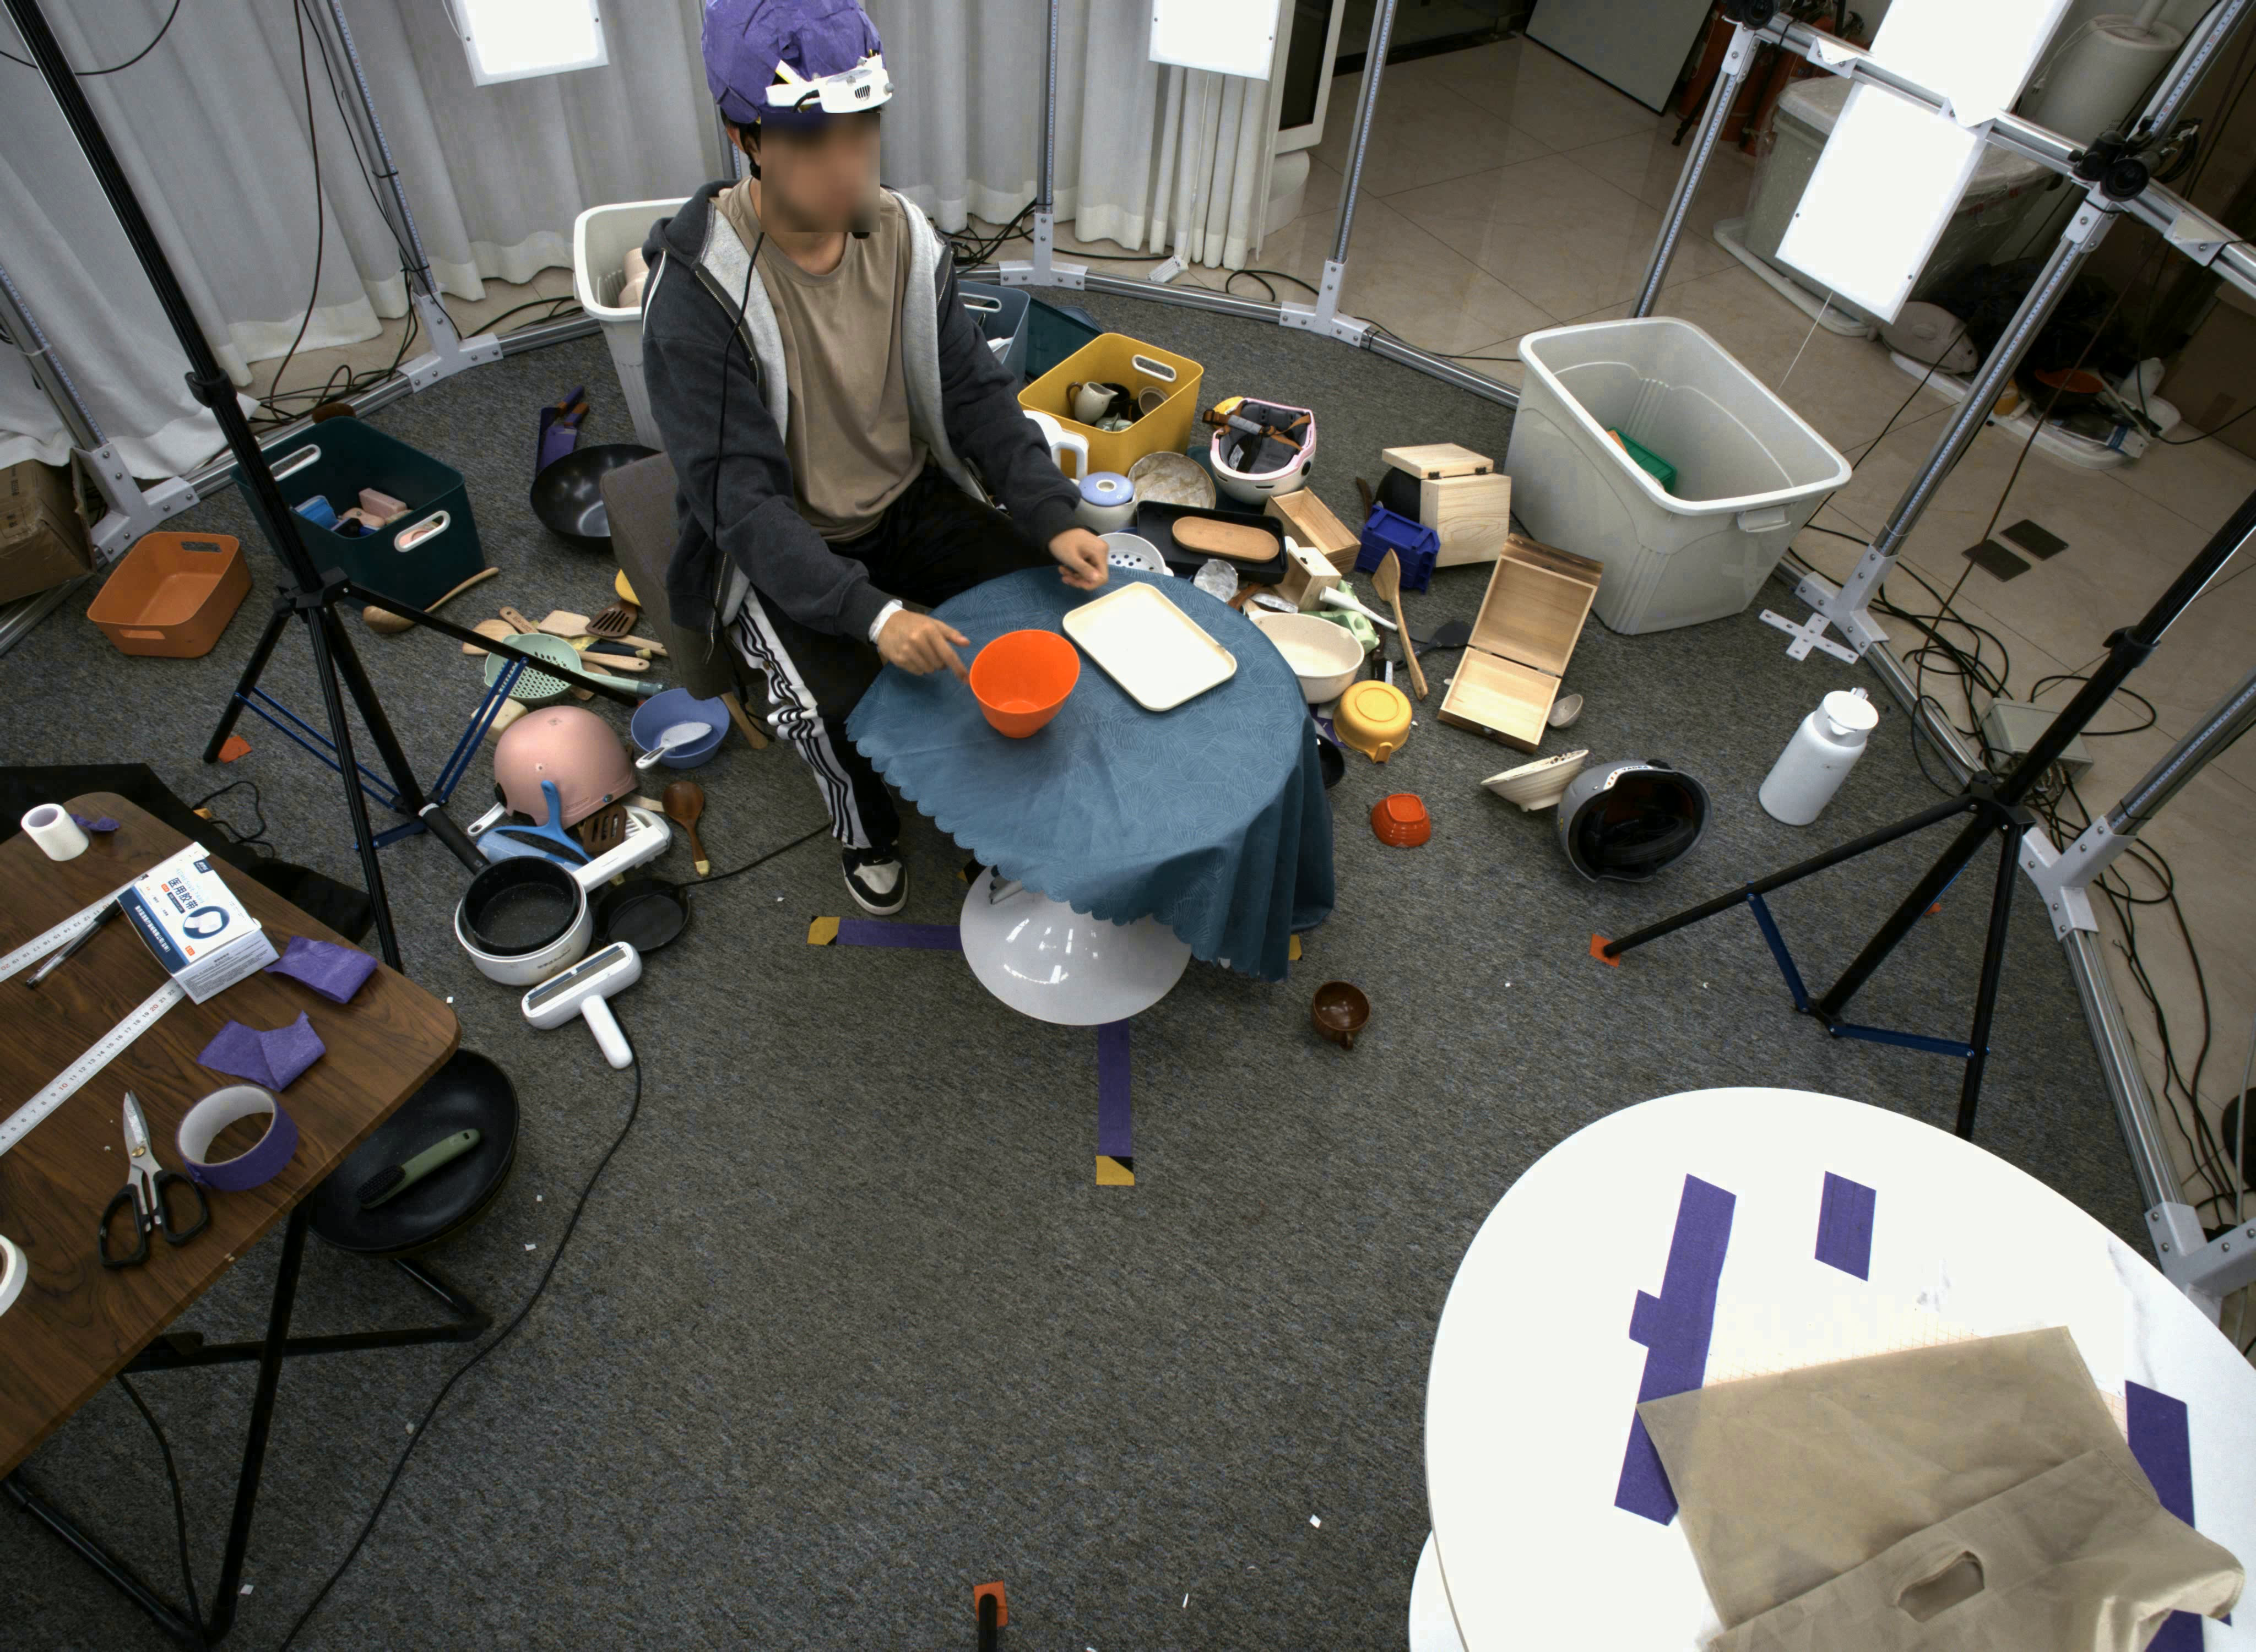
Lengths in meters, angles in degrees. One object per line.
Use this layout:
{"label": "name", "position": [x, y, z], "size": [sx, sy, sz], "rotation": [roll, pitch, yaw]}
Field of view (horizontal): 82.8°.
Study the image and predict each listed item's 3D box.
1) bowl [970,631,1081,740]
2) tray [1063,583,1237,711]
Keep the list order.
{"label": "bowl", "position": [-0.140, -0.181, 1.749], "size": [0.148, 0.102, 0.152], "rotation": [2, 49, -3]}
{"label": "tray", "position": [0.031, -0.264, 1.887], "size": [0.172, 0.017, 0.244], "rotation": [-29, 56, -25]}
